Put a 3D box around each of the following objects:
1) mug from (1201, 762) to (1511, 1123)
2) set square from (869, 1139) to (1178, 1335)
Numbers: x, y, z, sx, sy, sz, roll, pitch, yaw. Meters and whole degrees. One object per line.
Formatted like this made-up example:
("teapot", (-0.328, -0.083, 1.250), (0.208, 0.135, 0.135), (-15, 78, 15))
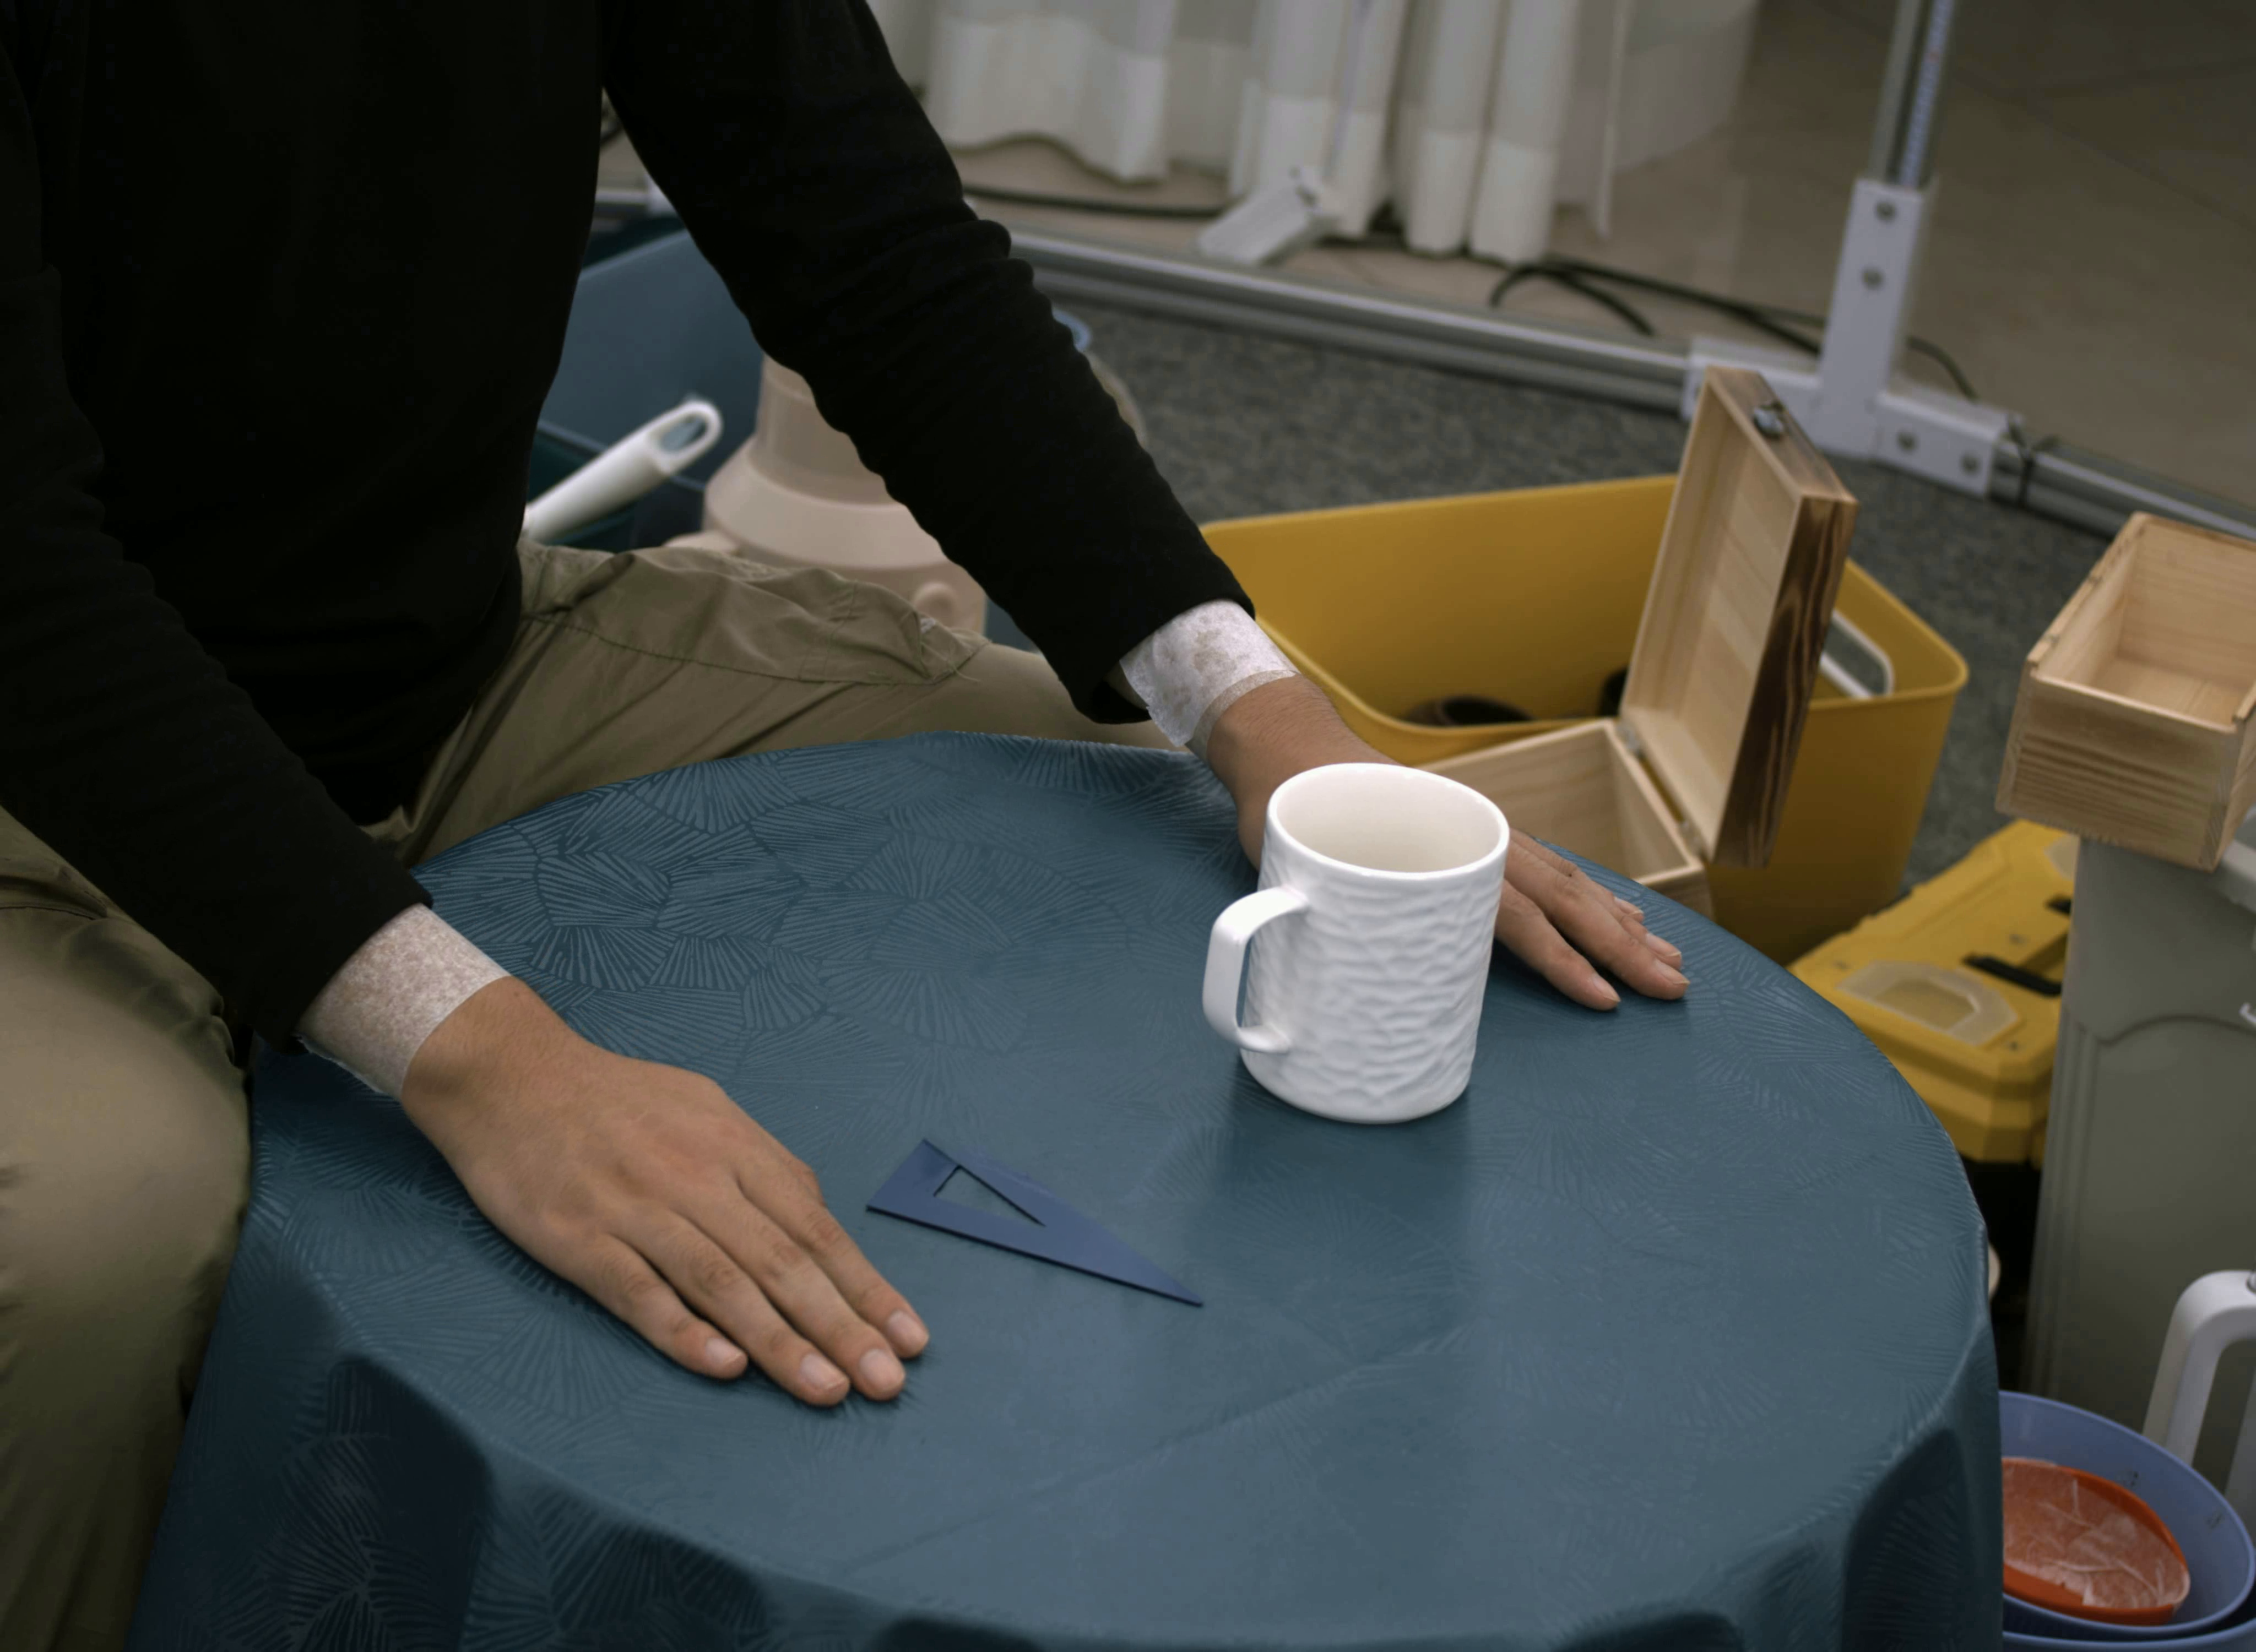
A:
("mug", (0.073, 0.045, 1.860), (0.117, 0.101, 0.085), (-16, 35, -39))
("set square", (-0.041, 0.139, 1.758), (0.061, 0.006, 0.133), (-11, 32, -34))
